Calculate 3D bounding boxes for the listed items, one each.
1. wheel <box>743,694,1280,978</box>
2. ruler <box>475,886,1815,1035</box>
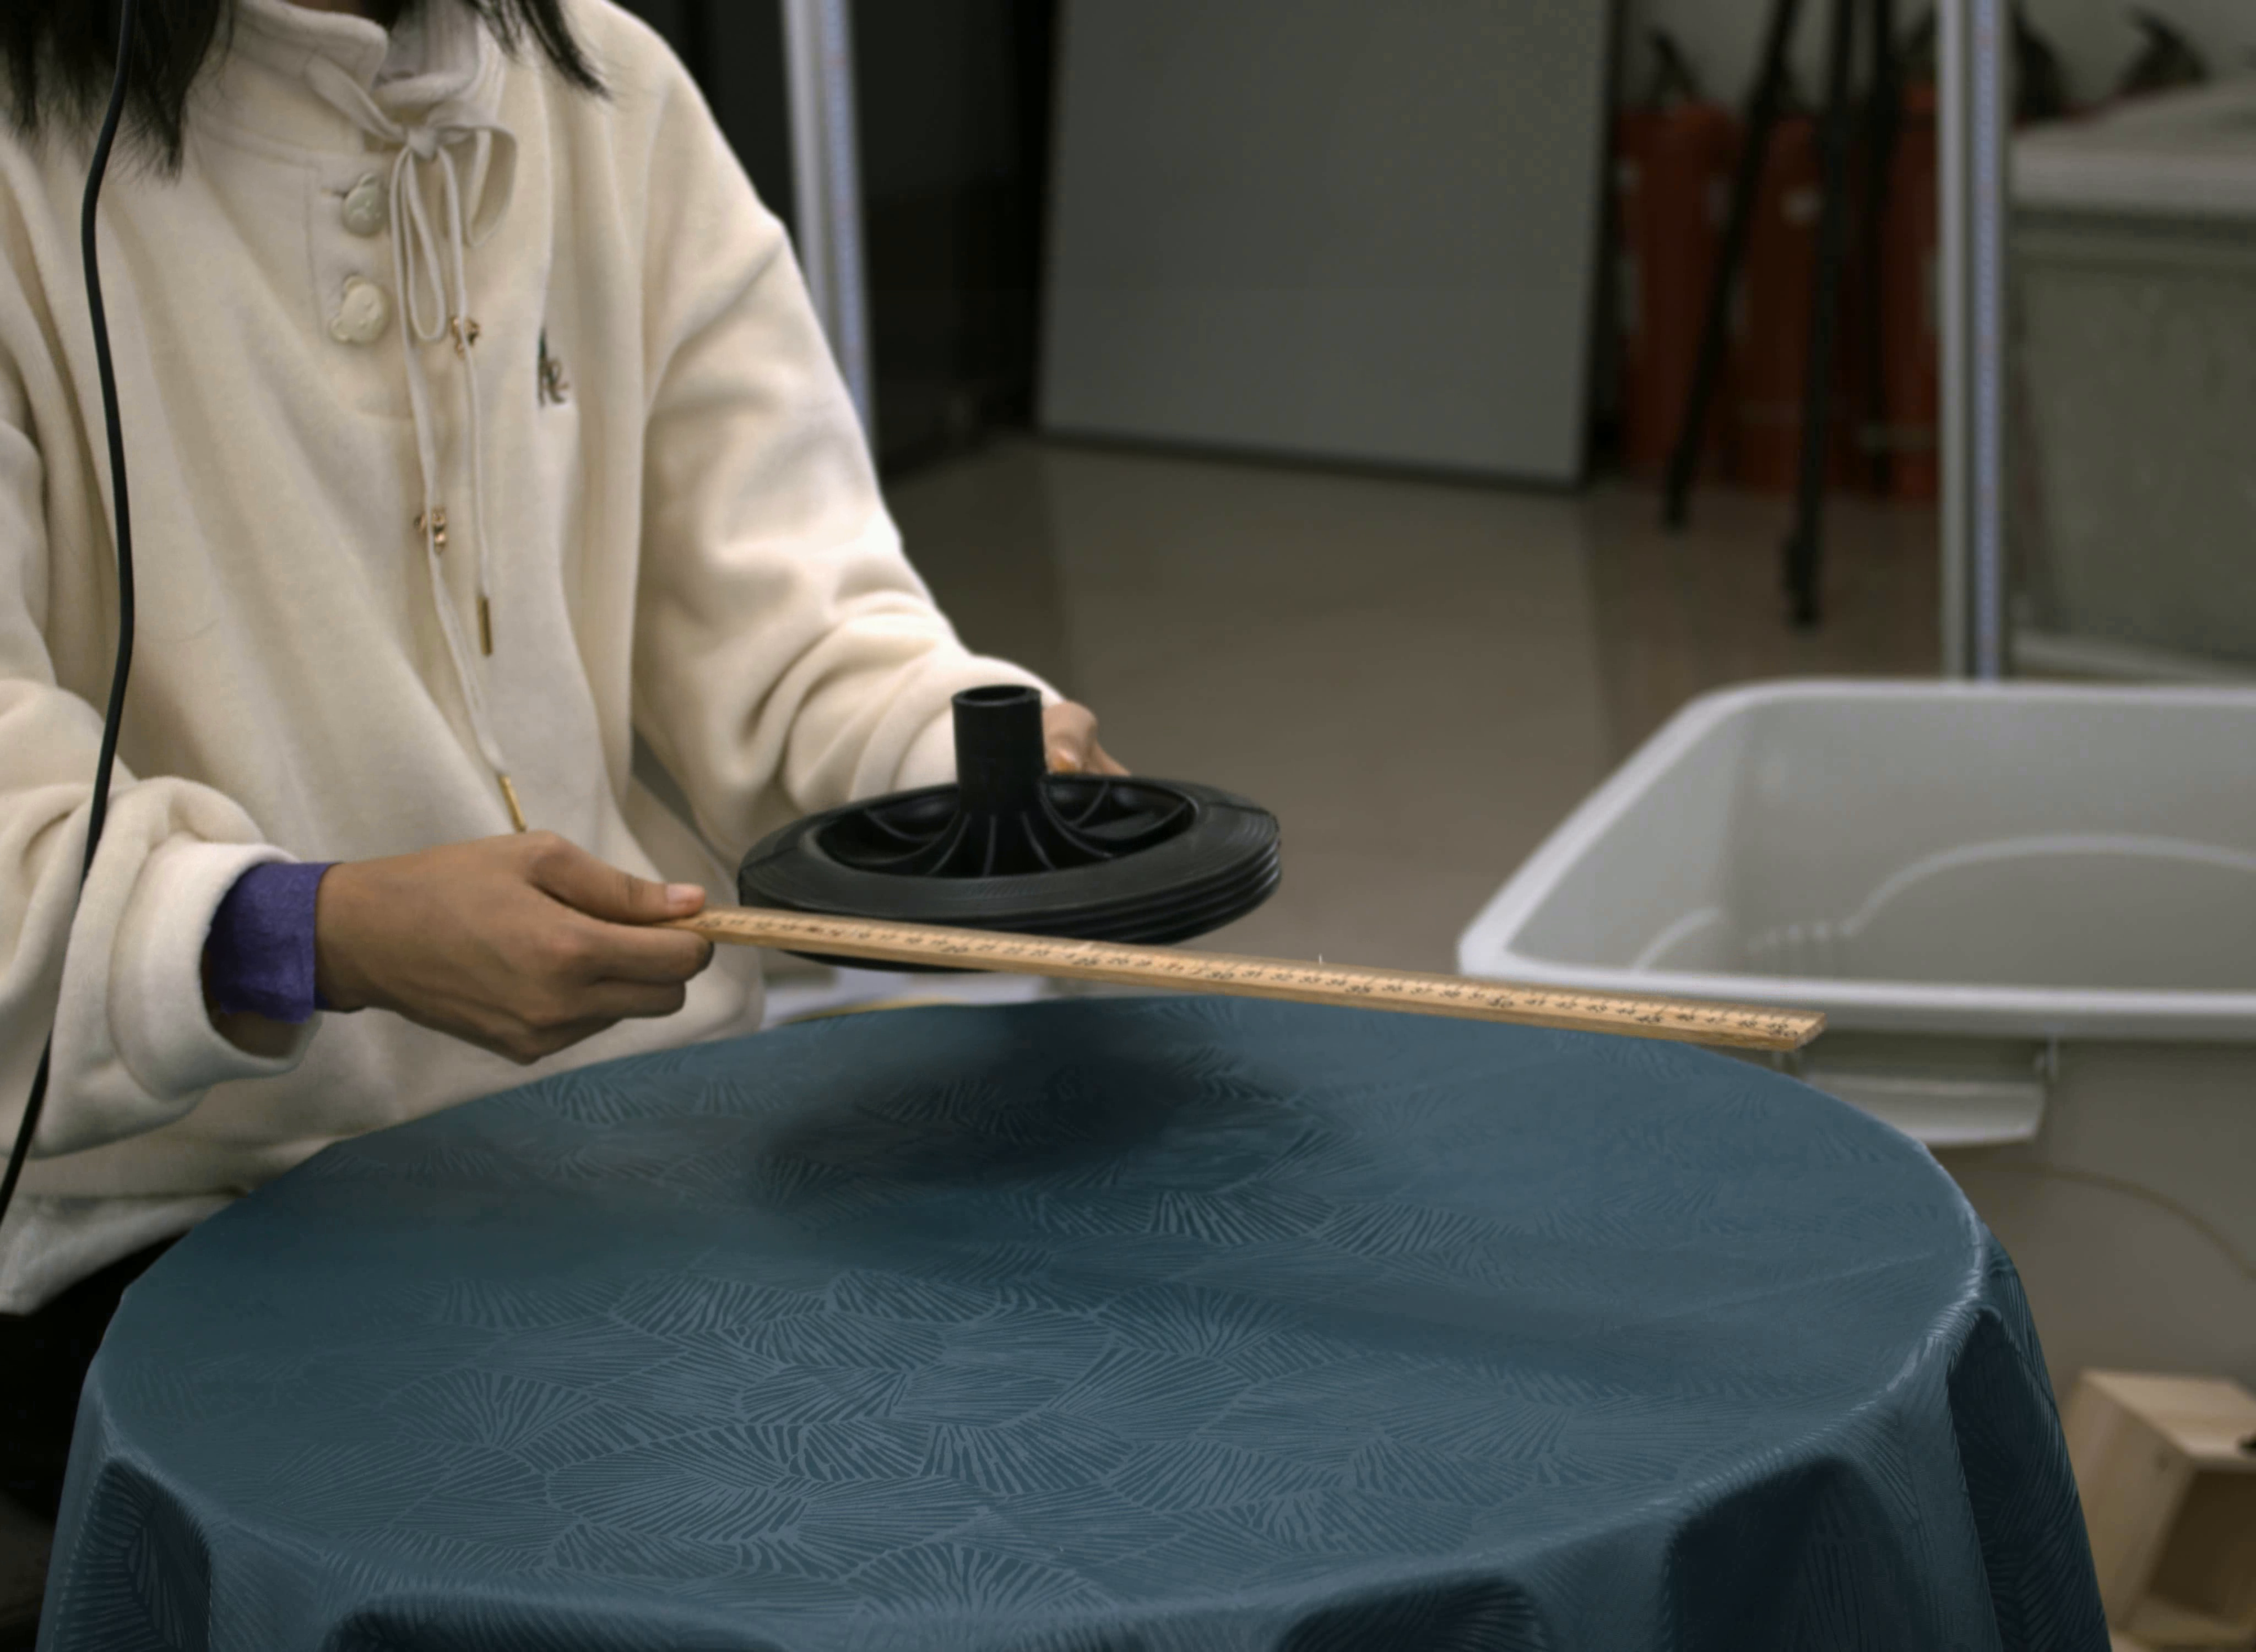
[{"bbox_3d":[-0.041,-0.003,1.851,0.188,0.080,0.187,3,15,29],"label":"wheel"},{"bbox_3d":[-0.011,0.041,1.711,0.503,0.006,0.026,4,20,34],"label":"ruler"}]
